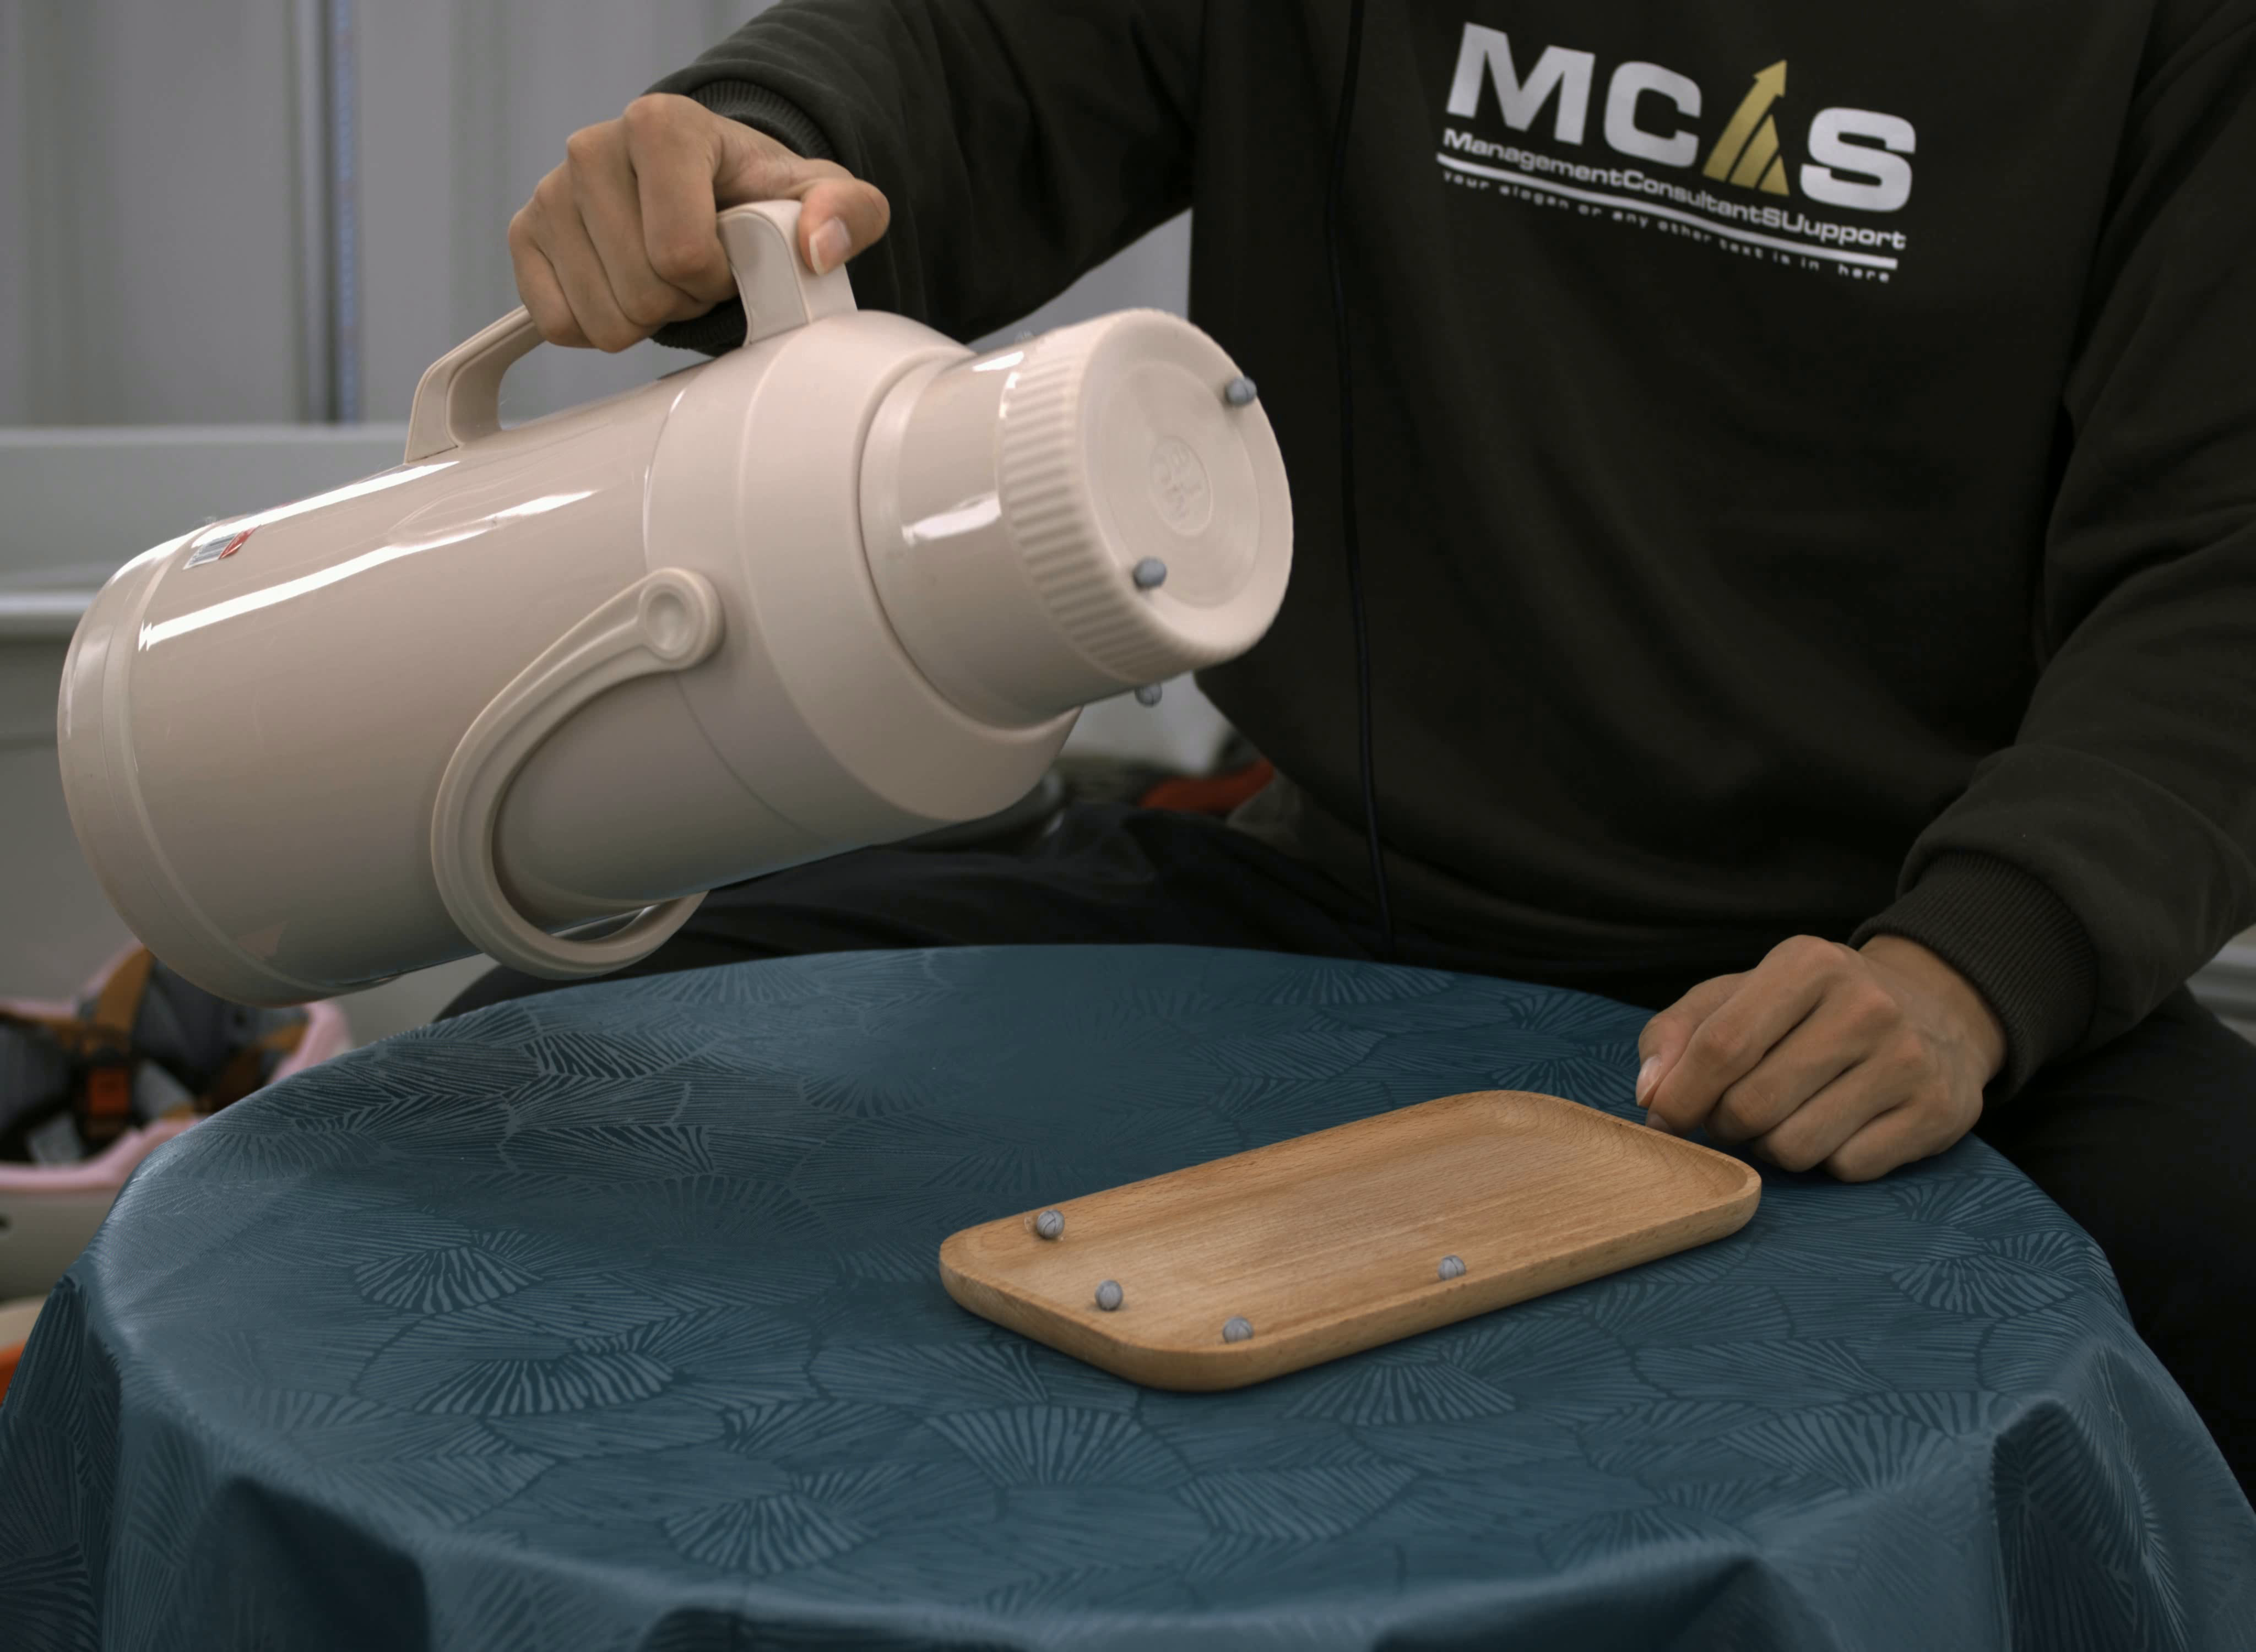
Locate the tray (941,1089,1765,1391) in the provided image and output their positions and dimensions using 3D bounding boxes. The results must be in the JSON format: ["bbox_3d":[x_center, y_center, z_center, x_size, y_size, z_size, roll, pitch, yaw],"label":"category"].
[{"bbox_3d":[0.070,0.121,1.573,0.252,0.023,0.129,-11,22,-39],"label":"tray"}]

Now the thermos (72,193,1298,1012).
[{"bbox_3d":[-0.139,-0.073,1.618,0.403,0.208,0.176,-15,1,38],"label":"thermos"}]
